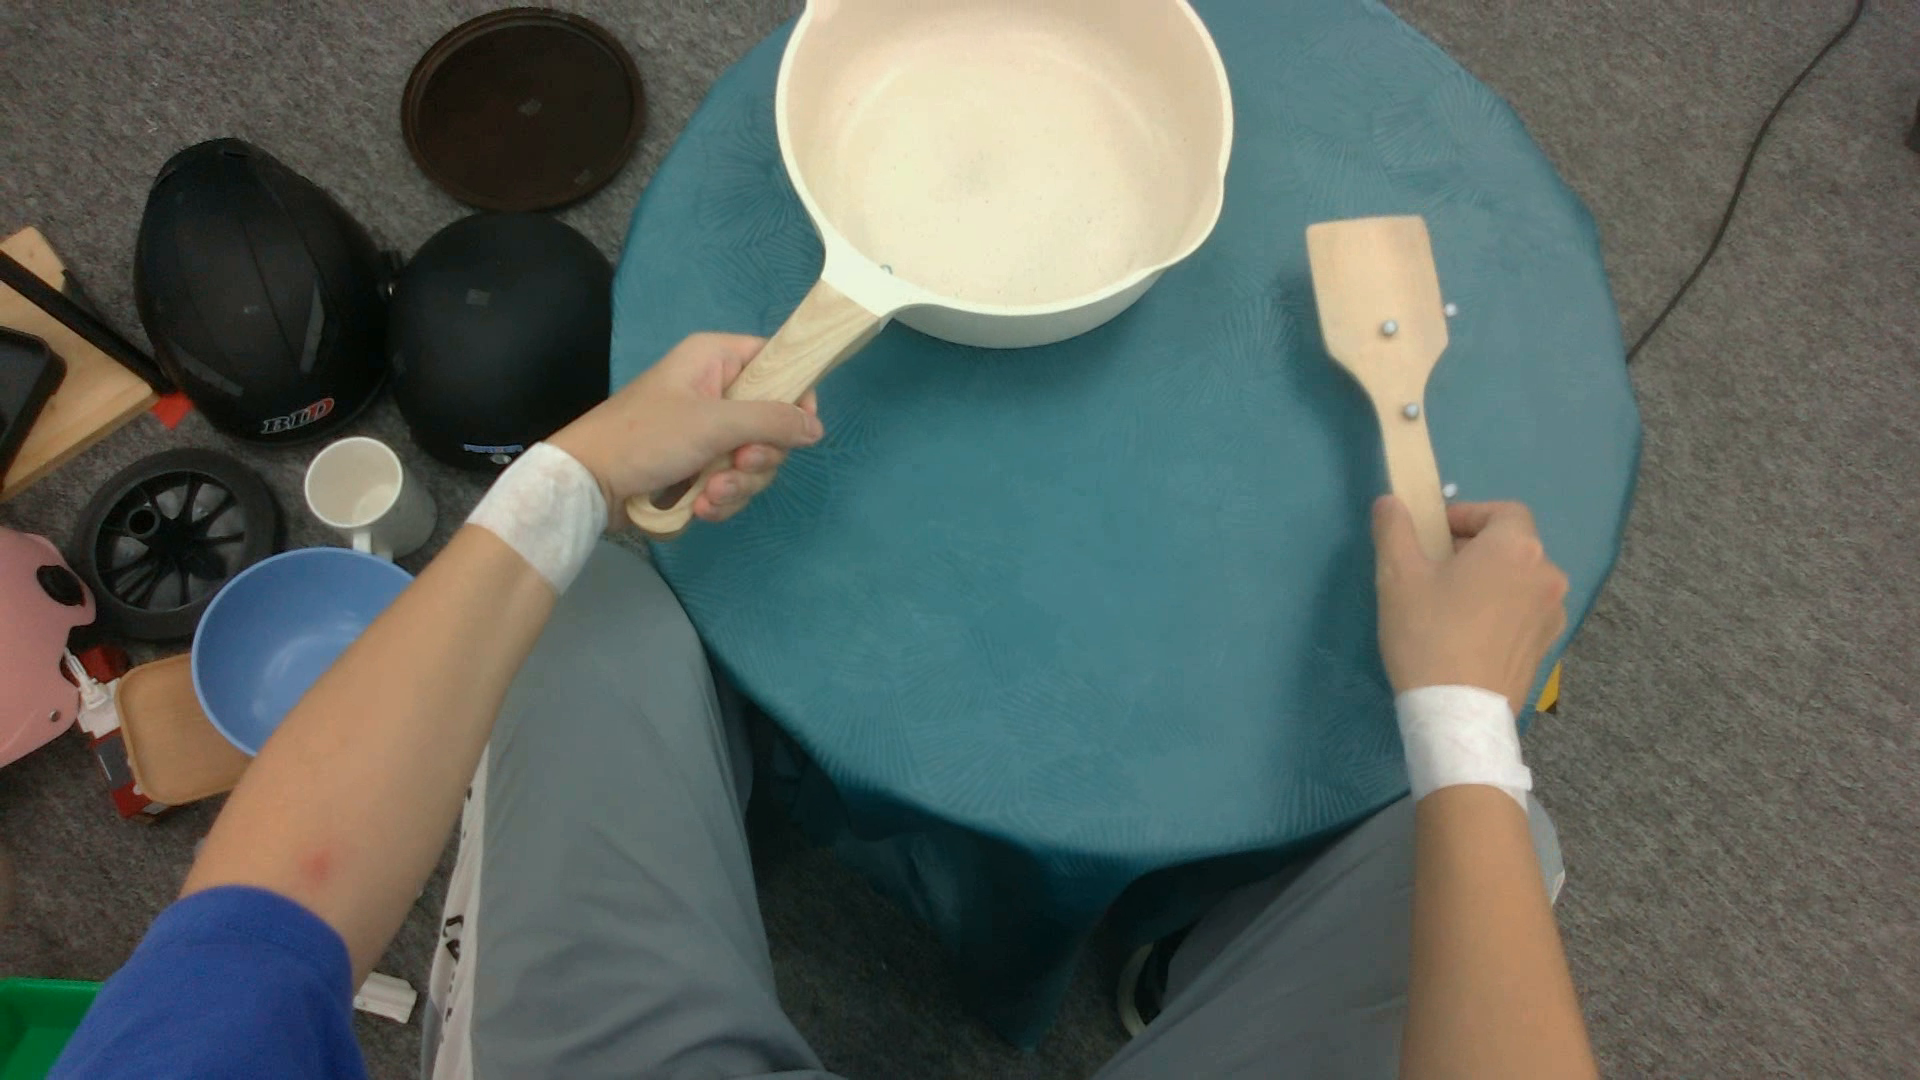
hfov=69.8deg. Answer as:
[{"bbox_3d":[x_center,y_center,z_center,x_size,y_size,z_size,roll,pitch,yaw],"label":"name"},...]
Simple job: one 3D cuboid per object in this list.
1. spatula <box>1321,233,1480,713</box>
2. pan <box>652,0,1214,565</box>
[{"bbox_3d":[0.252,-0.046,0.761,0.072,0.010,0.294,-1,66,1],"label":"spatula"},{"bbox_3d":[-0.032,-0.155,0.779,0.263,0.101,0.436,32,74,7],"label":"pan"}]
